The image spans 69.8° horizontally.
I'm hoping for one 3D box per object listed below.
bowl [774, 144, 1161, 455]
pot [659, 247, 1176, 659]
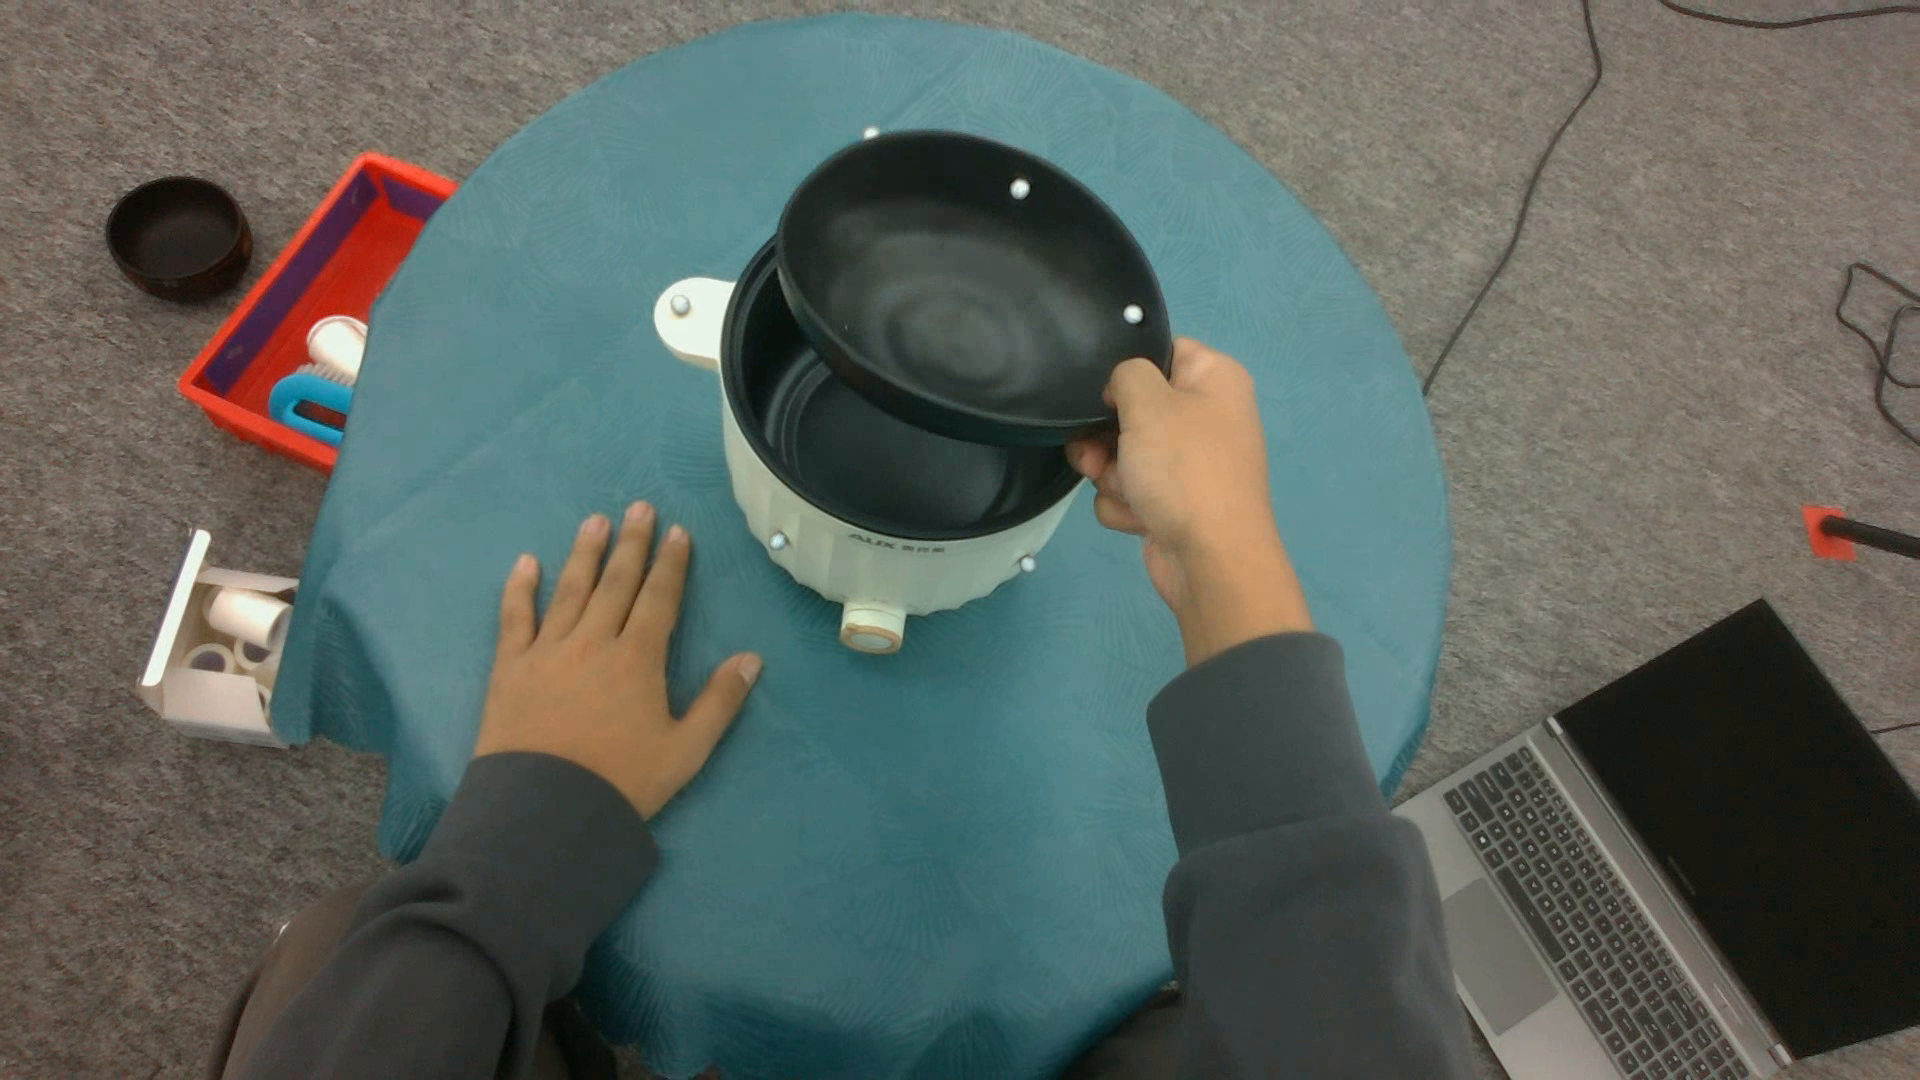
[{"bbox_3d":[0.001,-0.091,0.582,0.170,0.066,0.138,14,61,-13],"label":"bowl"},{"bbox_3d":[-0.024,-0.049,0.688,0.240,0.142,0.191,6,62,-4],"label":"pot"}]
